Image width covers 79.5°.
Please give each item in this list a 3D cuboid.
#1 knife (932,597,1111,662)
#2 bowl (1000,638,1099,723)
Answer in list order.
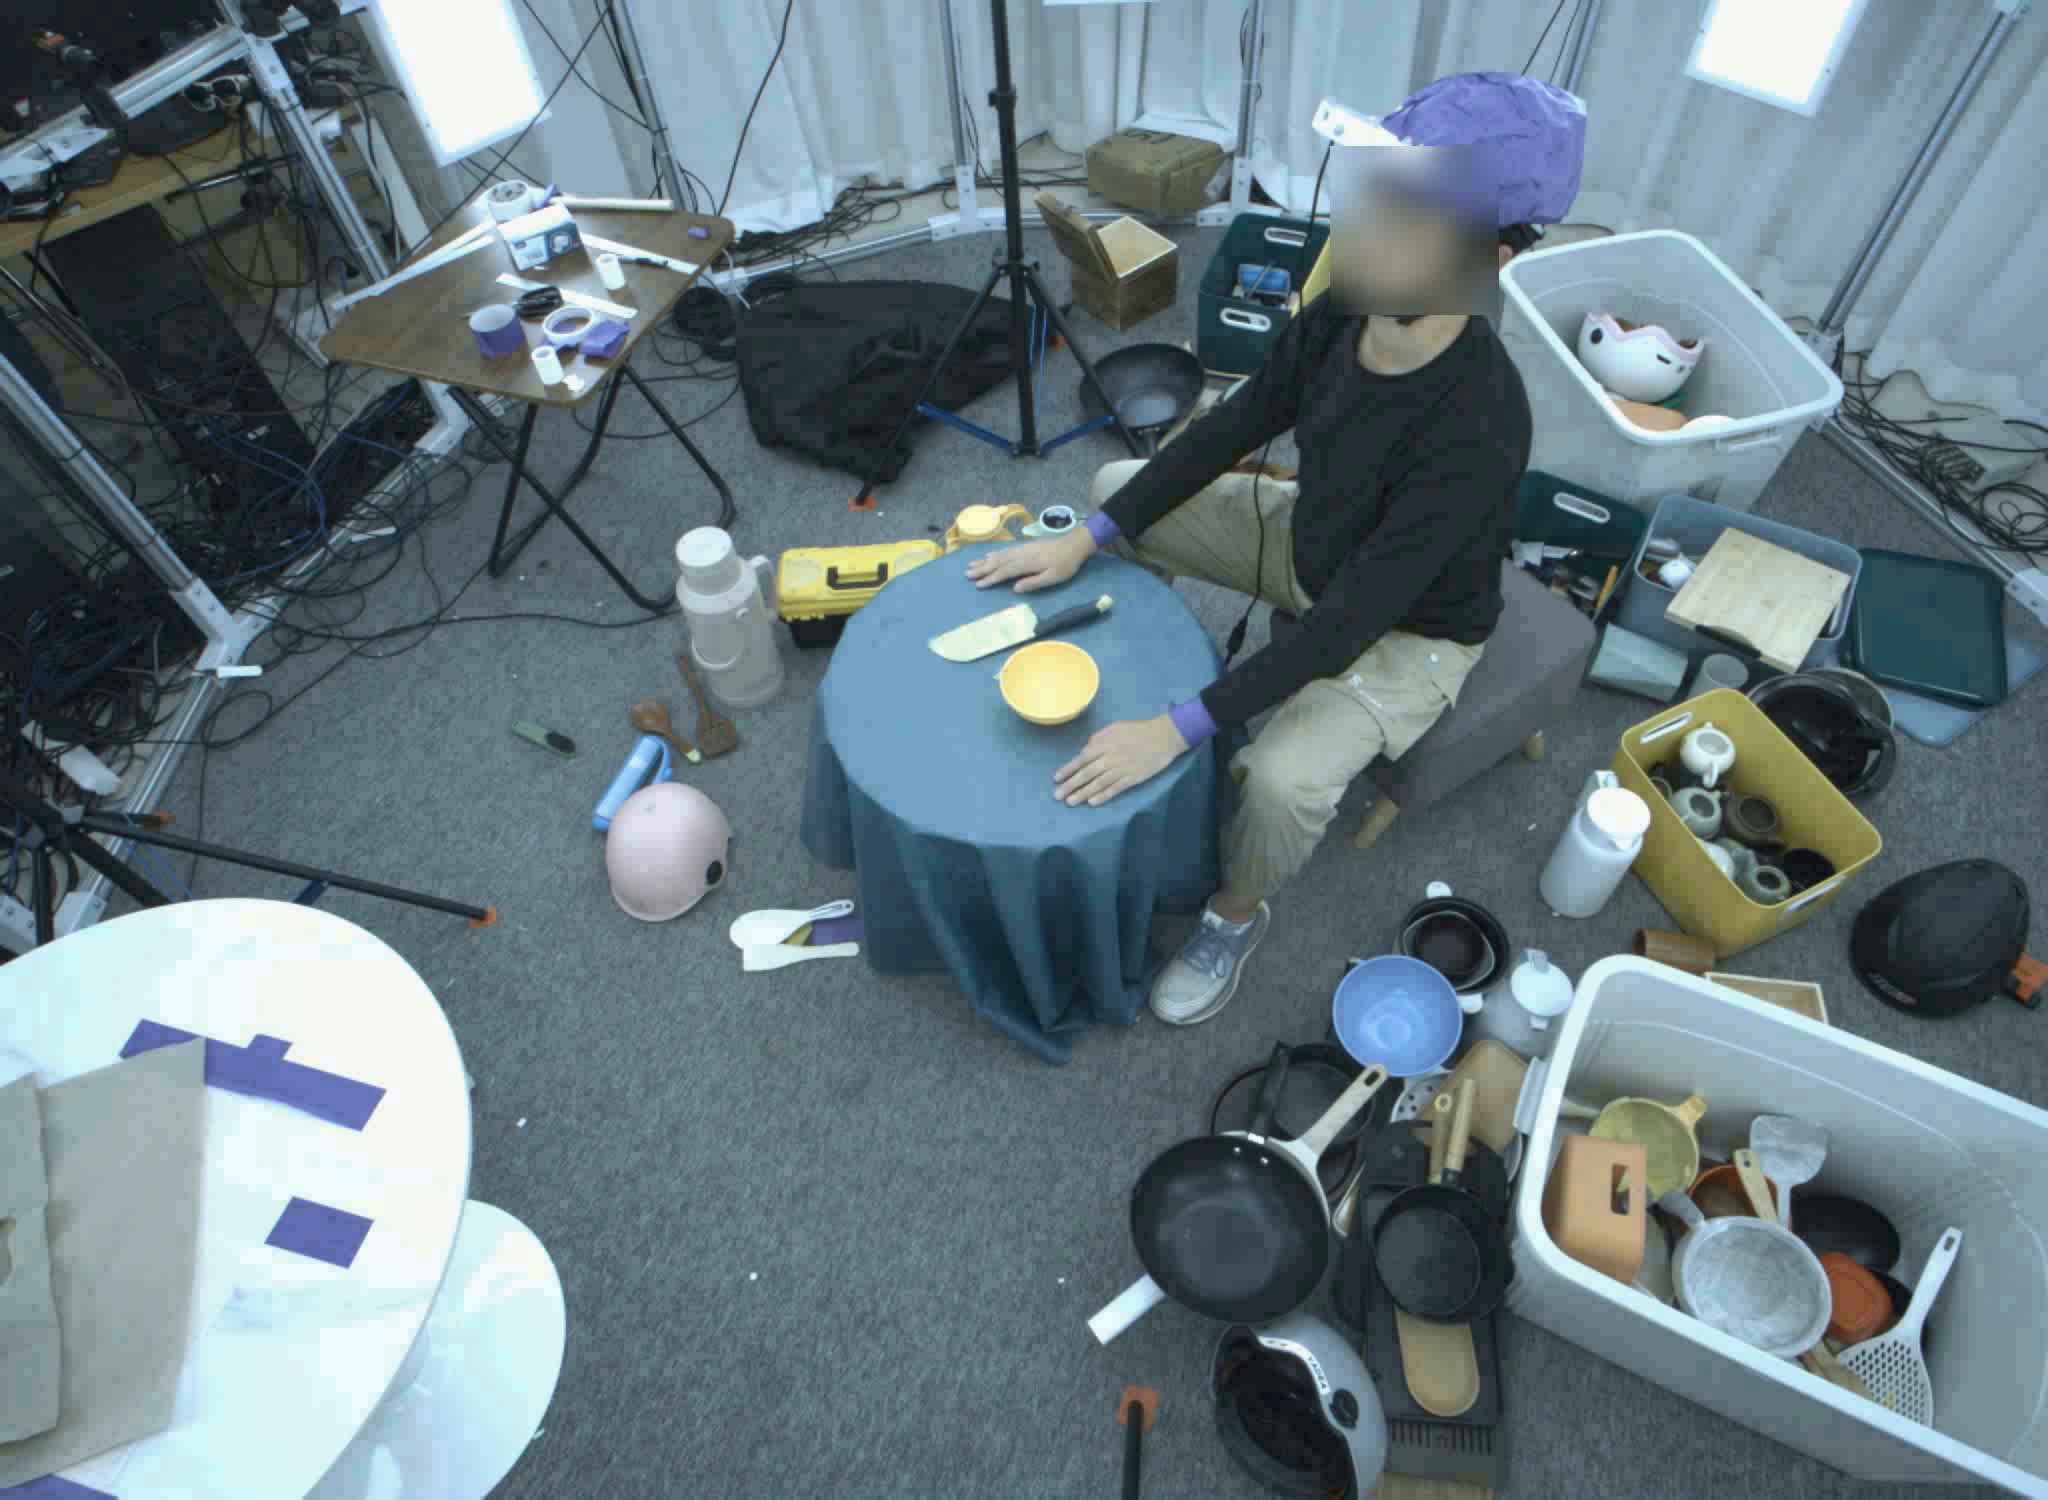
[{"bbox_3d":[-0.006,-0.196,1.915,0.291,0.027,0.079,-17,57,-9],"label":"knife"},{"bbox_3d":[0.038,-0.090,1.810,0.145,0.061,0.144,0,57,1],"label":"bowl"}]
